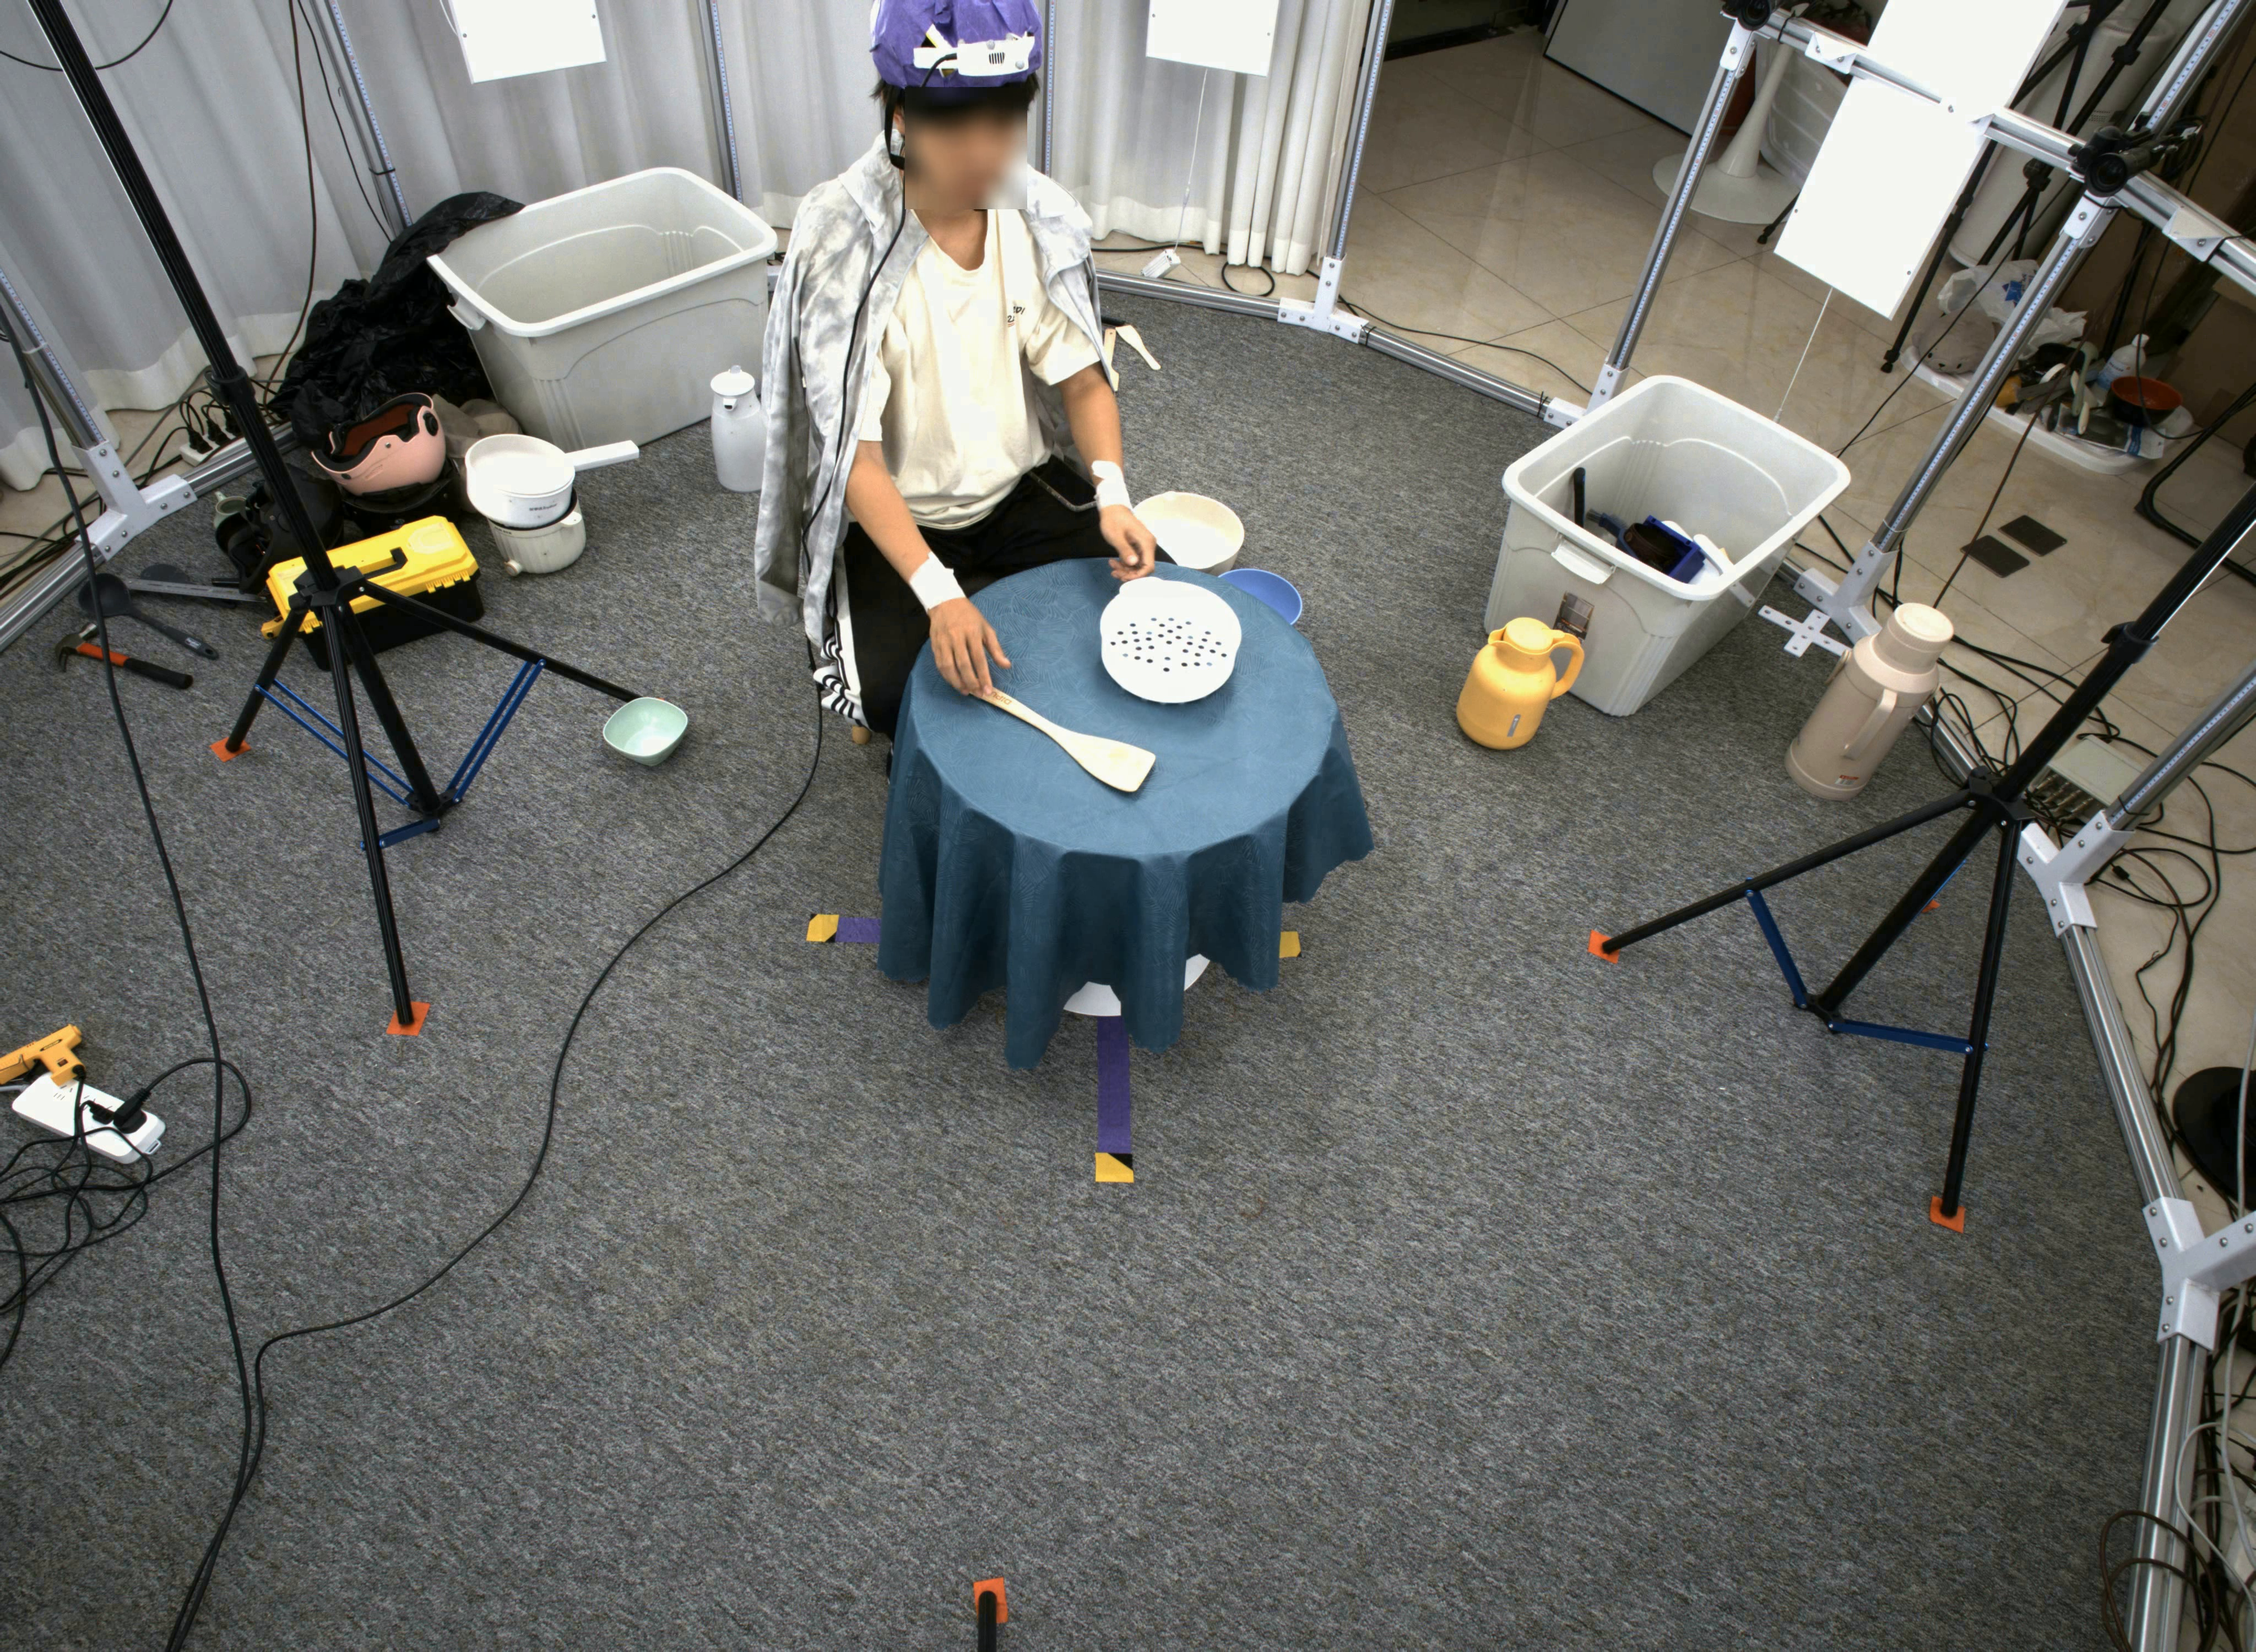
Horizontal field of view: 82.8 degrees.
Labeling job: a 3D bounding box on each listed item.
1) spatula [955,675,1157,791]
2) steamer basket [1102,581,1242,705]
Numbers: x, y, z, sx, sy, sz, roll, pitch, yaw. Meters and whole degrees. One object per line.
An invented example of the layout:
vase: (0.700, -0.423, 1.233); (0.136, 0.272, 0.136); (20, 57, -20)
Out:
spatula: (-0.105, -0.138, 1.761); (0.331, 0.016, 0.081); (29, 52, 20)
steamer basket: (0.061, -0.260, 1.849); (0.202, 0.067, 0.236); (-16, 51, -19)
